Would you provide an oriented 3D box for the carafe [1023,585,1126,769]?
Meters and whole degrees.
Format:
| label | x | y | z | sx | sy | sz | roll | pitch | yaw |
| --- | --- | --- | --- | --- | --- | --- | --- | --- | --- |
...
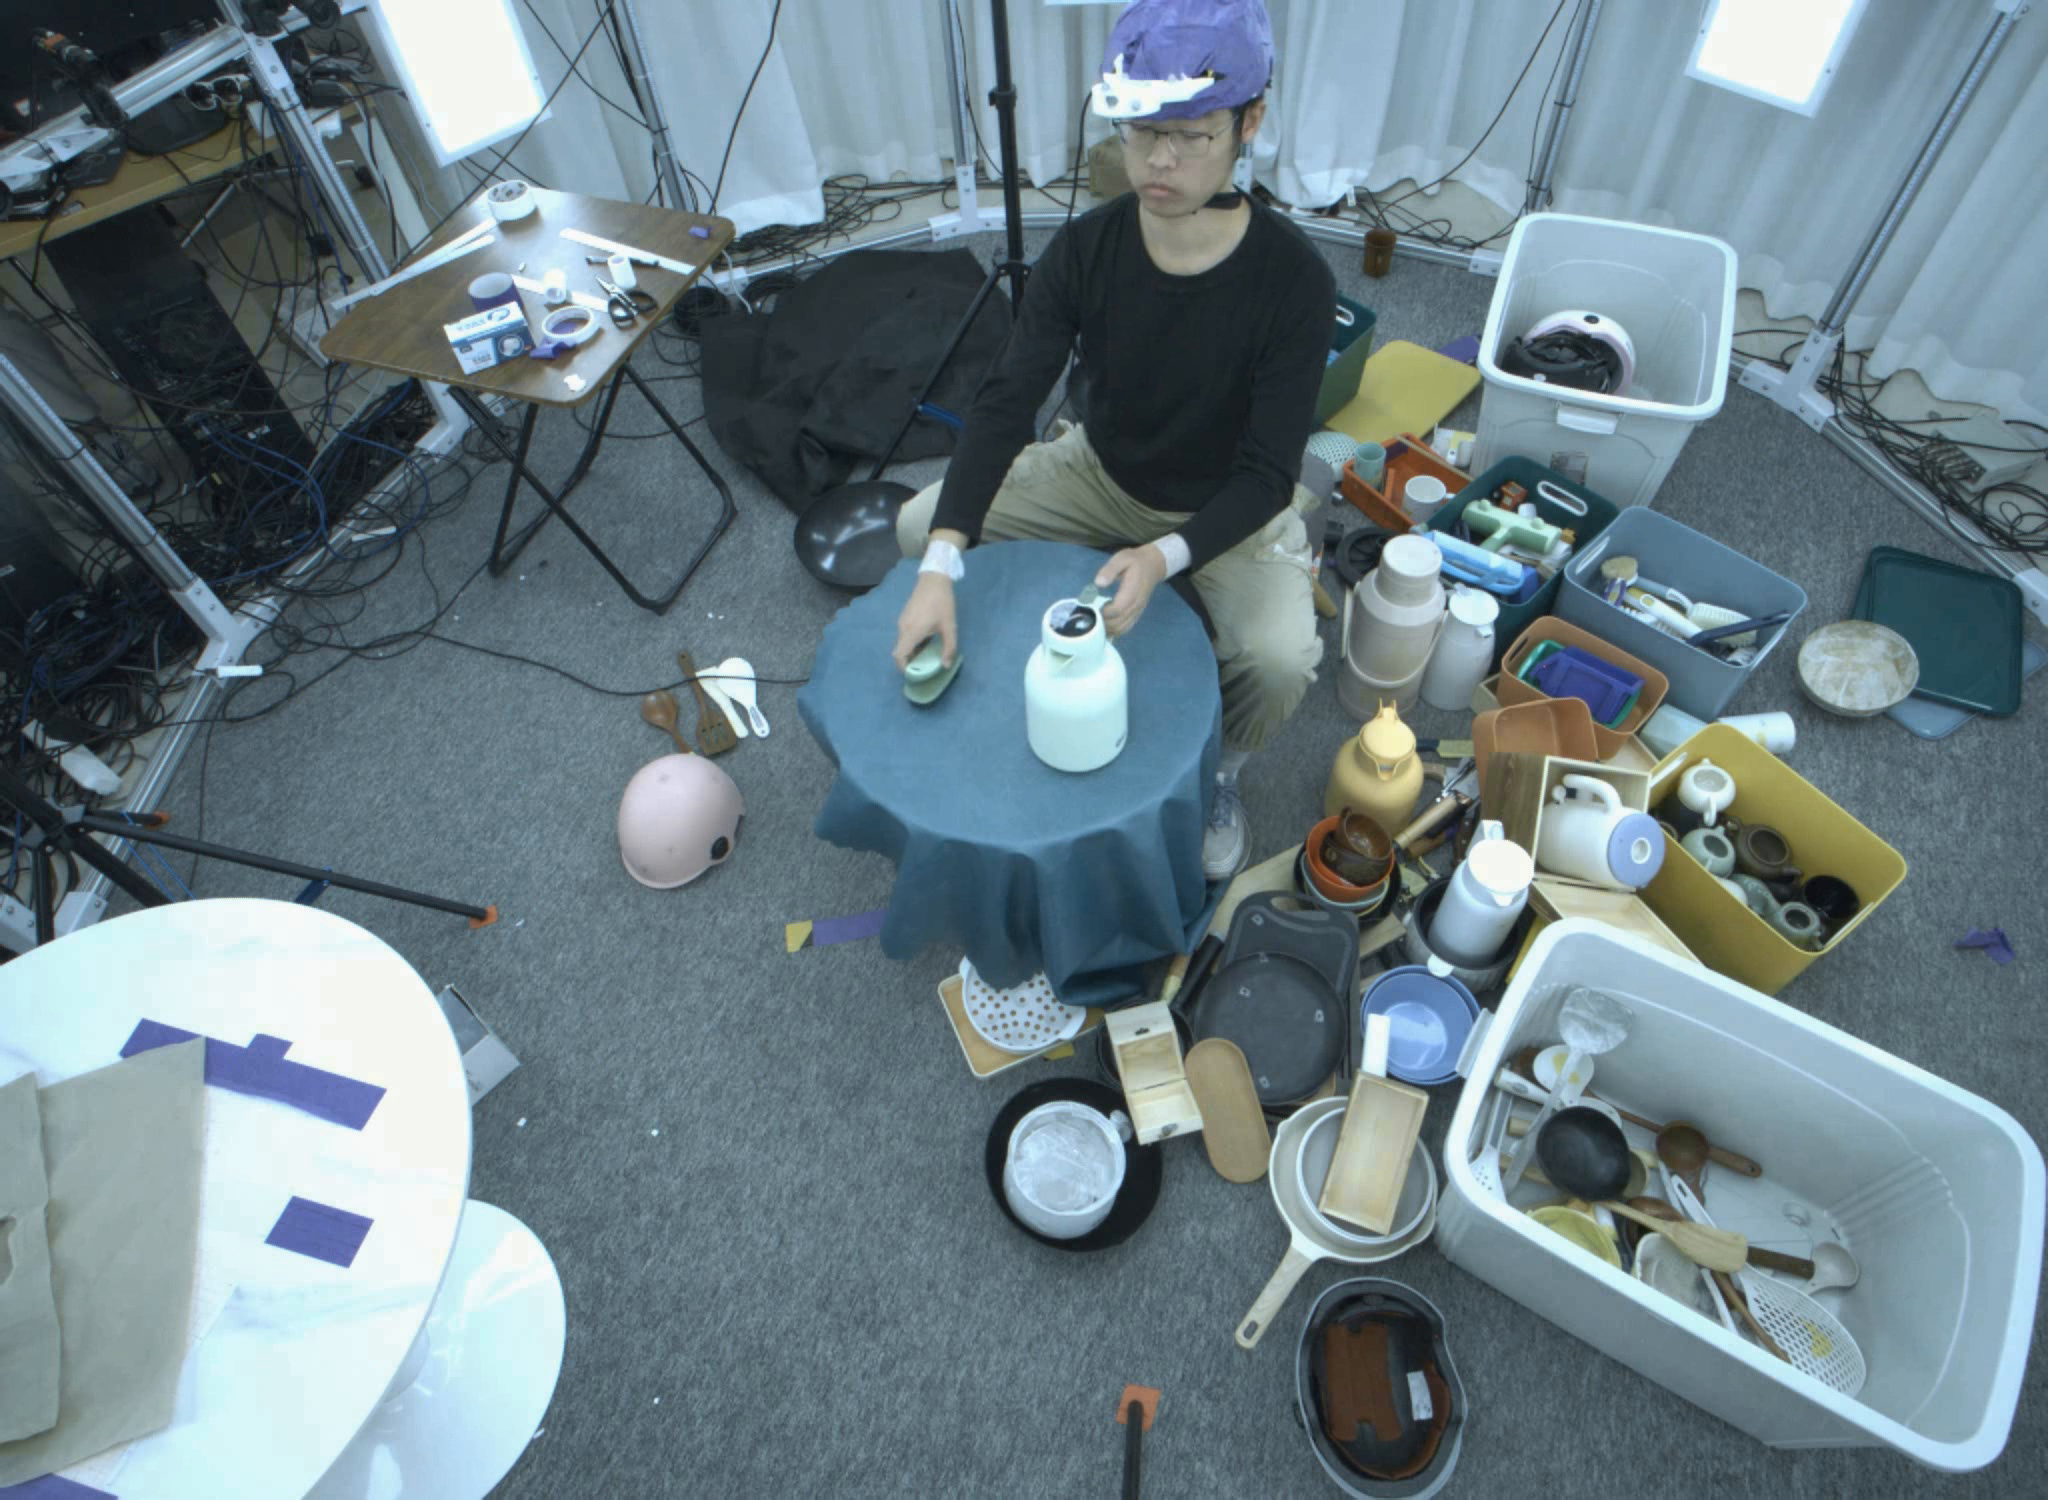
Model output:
| label | x | y | z | sx | sy | sz | roll | pitch | yaw |
| --- | --- | --- | --- | --- | --- | --- | --- | --- | --- |
| carafe | 0.076 | -0.107 | 1.702 | 0.142 | 0.259 | 0.187 | 20 | 56 | 16 |

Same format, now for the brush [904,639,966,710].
| label | x | y | z | sx | sy | sz | roll | pitch | yaw |
| --- | --- | --- | --- | --- | --- | --- | --- | --- | --- |
| brush | -0.135 | -0.115 | 1.846 | 0.058 | 0.076 | 0.124 | 21 | 39 | 22 |
